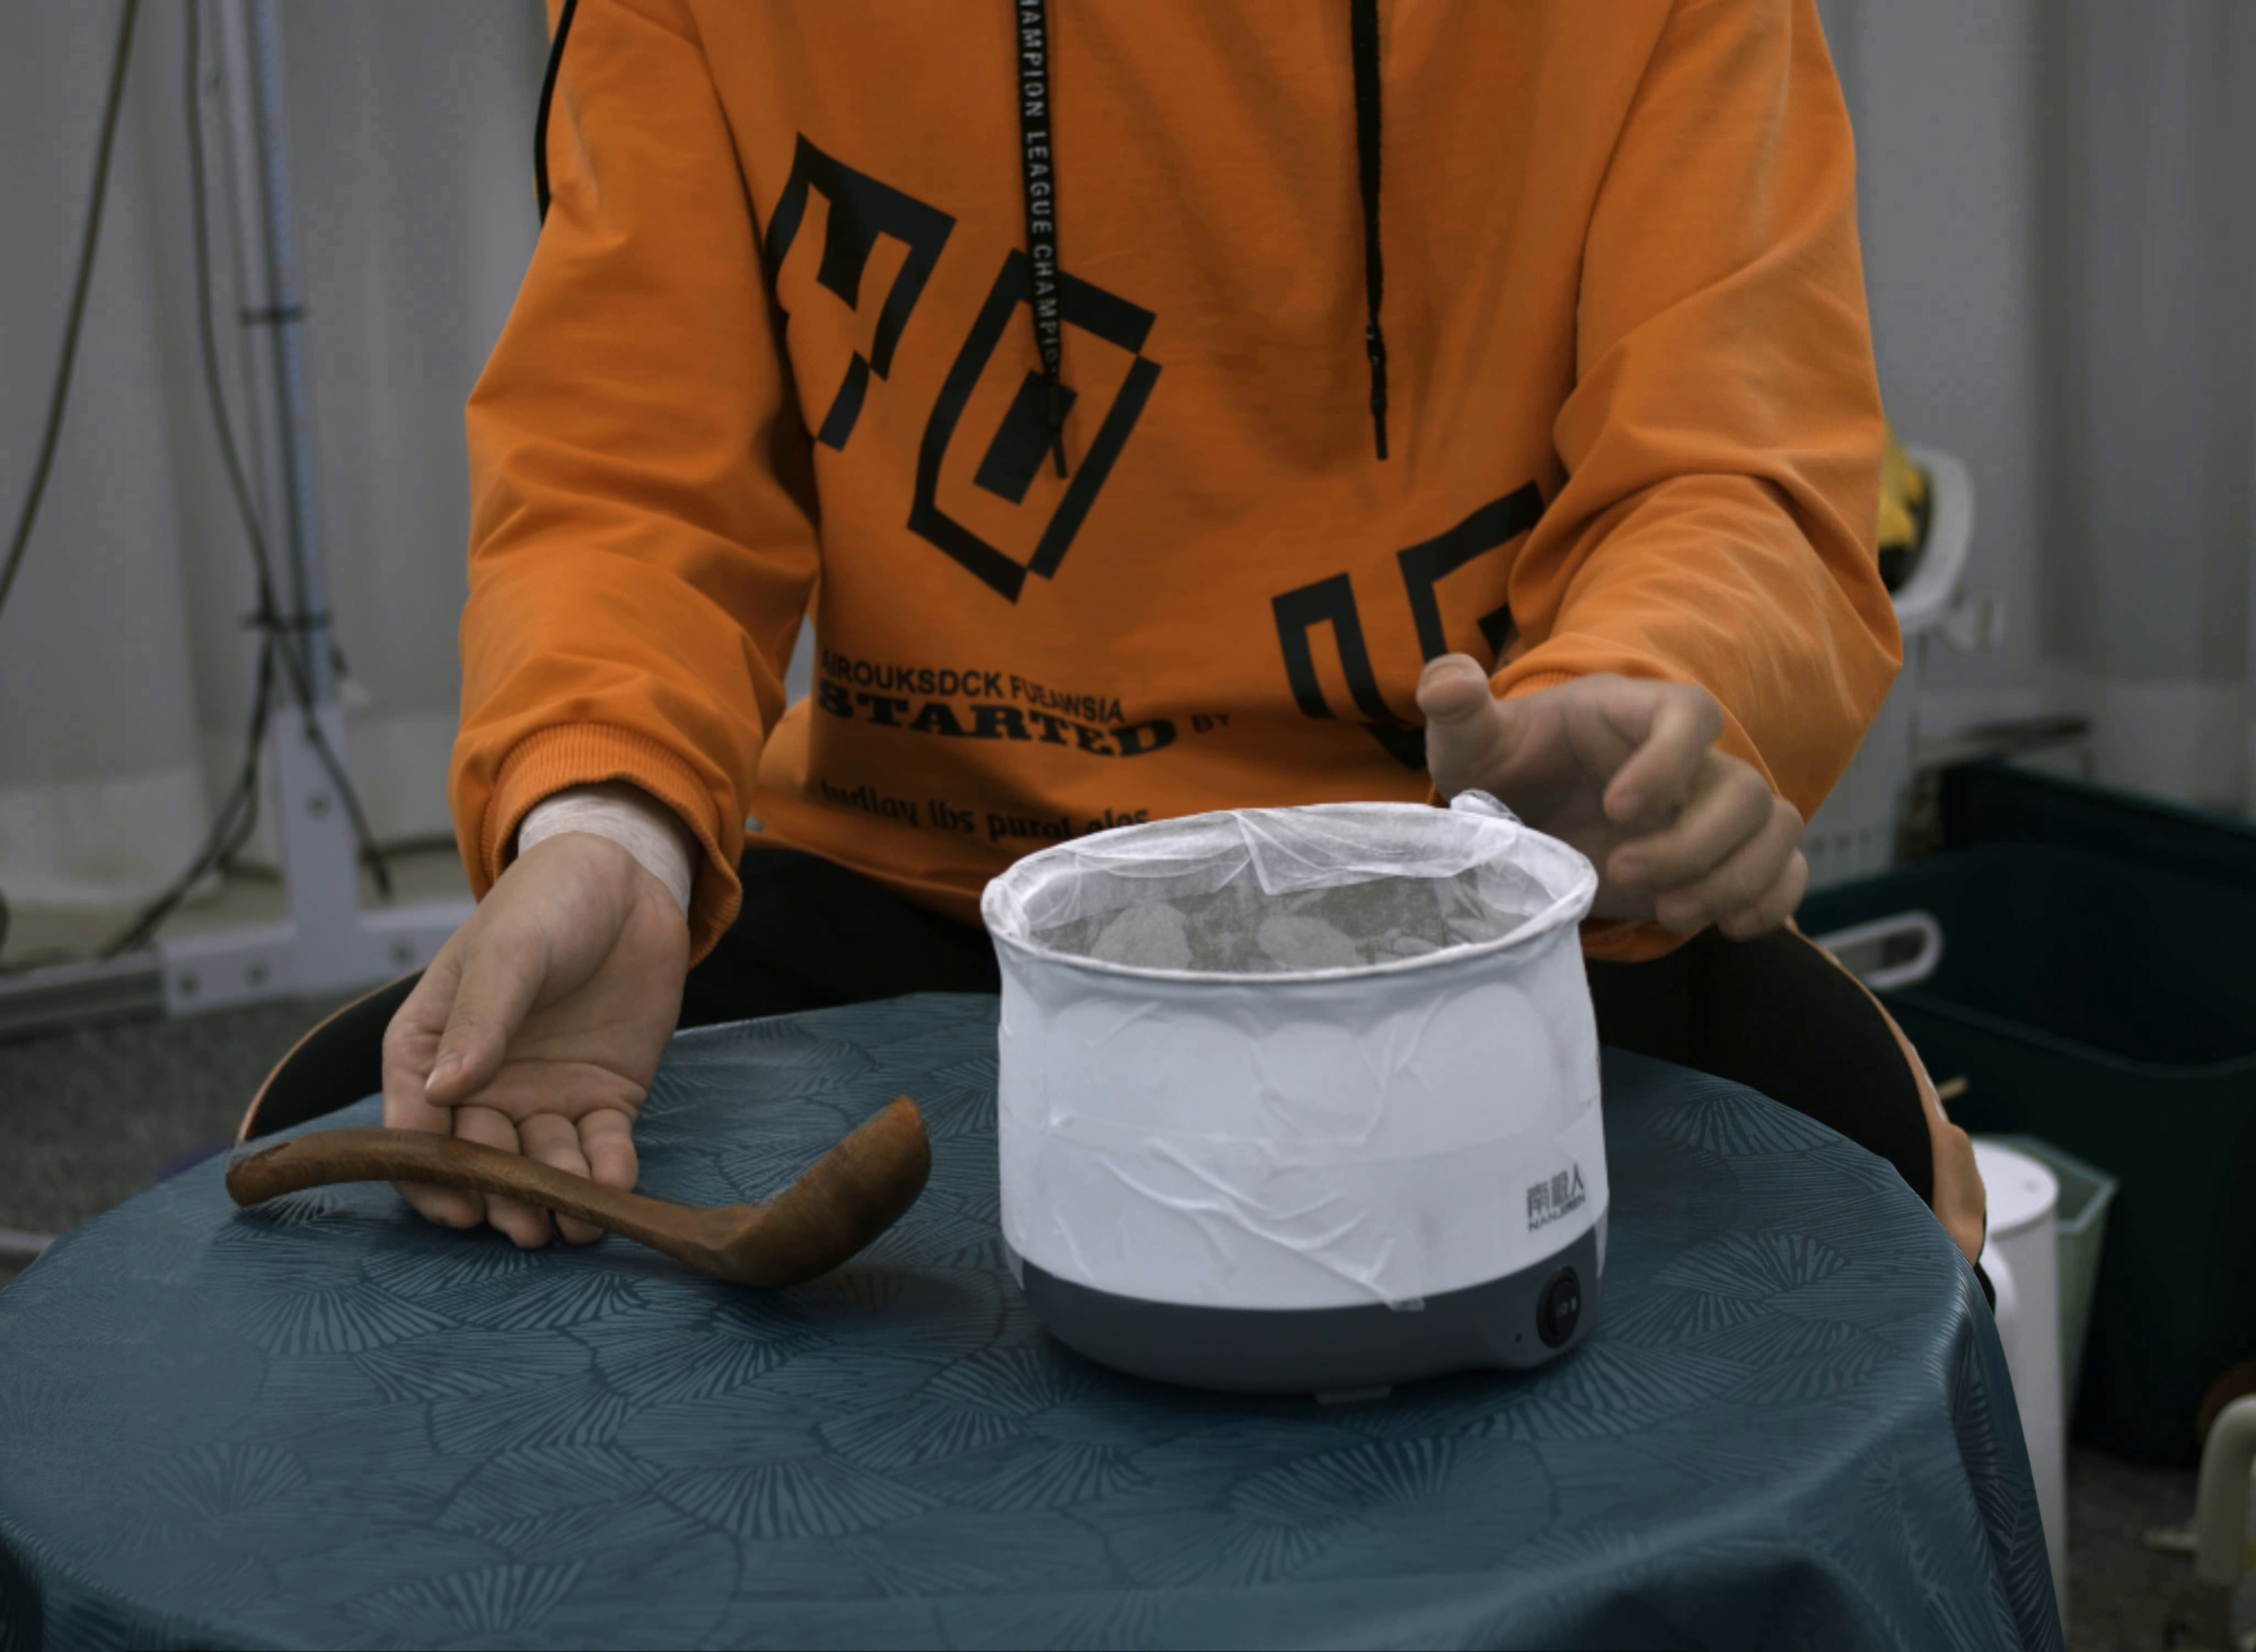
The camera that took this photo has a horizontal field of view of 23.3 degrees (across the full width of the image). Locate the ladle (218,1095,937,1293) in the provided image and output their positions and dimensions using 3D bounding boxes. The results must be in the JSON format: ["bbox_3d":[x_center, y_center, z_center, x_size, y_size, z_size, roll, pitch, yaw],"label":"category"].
[{"bbox_3d":[-0.175,0.101,1.676,0.261,0.065,0.076,6,16,29],"label":"ladle"}]

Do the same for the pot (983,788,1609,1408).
[{"bbox_3d":[0.065,0.072,1.599,0.179,0.136,0.234,8,18,34],"label":"pot"}]
